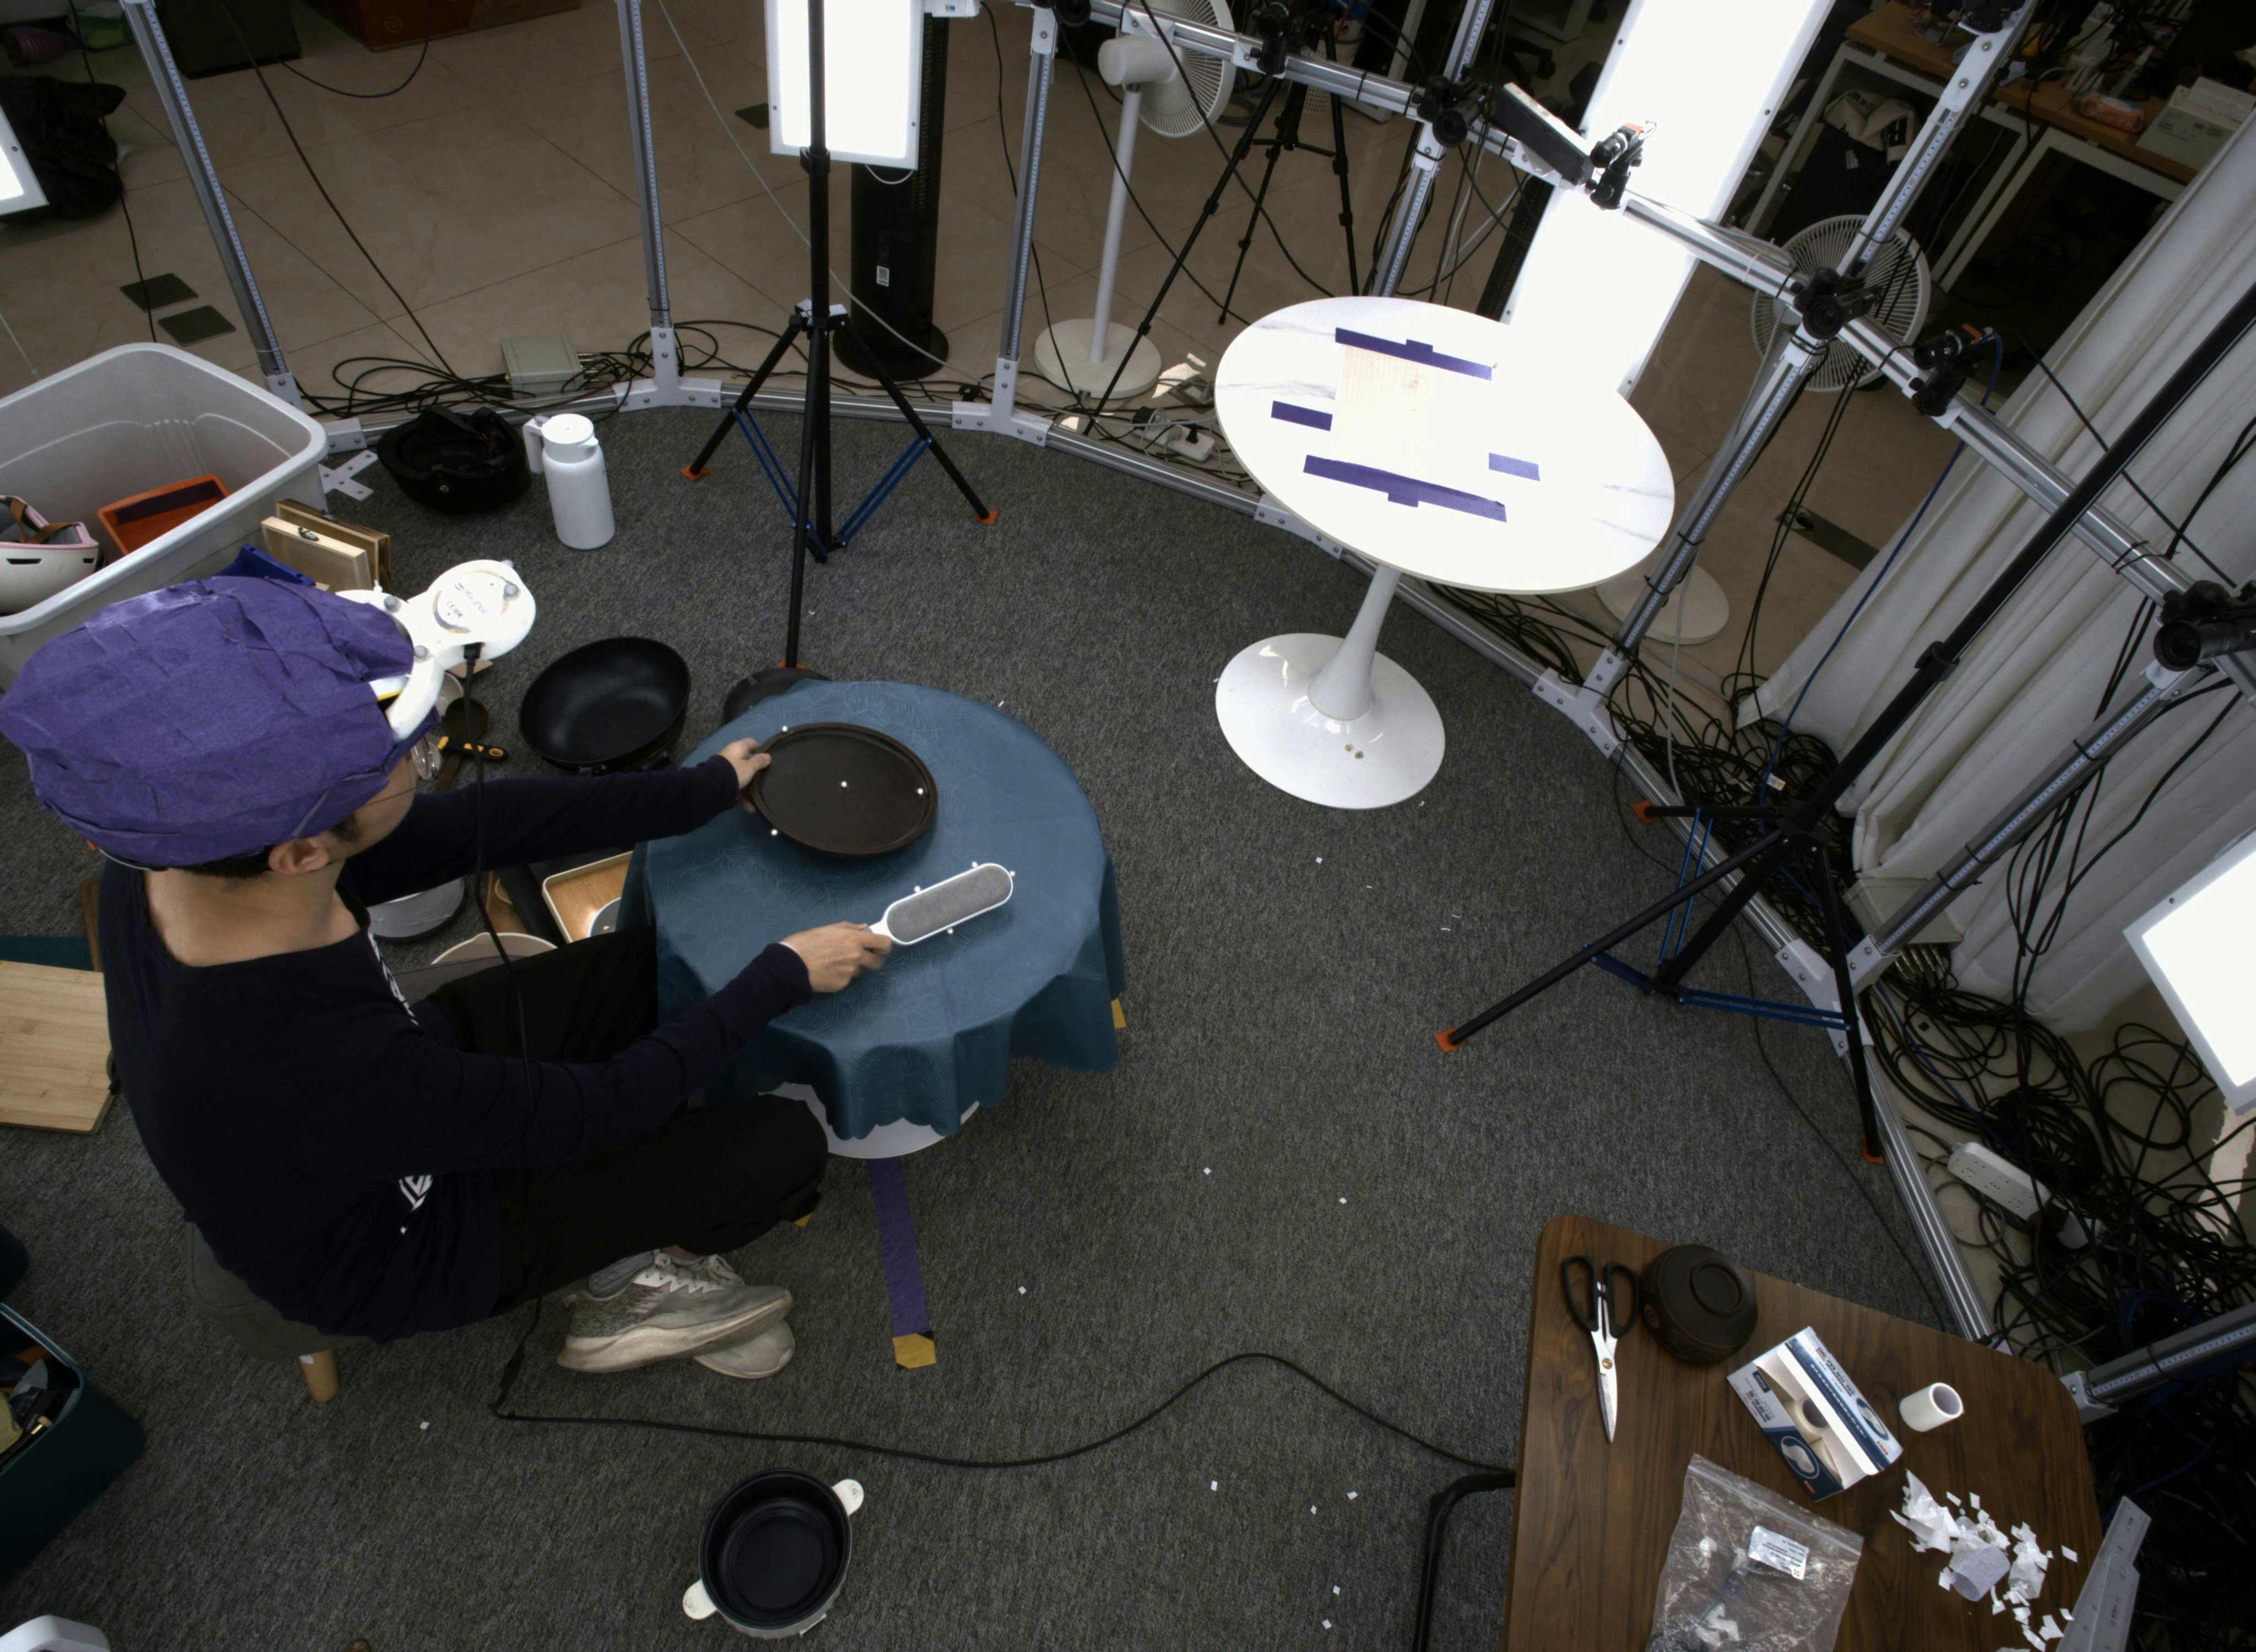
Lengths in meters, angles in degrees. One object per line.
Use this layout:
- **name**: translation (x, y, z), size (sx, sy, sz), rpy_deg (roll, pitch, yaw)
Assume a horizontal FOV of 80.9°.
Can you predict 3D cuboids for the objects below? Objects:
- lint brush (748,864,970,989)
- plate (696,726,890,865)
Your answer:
- **lint brush**: translation (-0.329, 0.122, 1.612), size (0.310, 0.020, 0.061), rpy_deg (-26, 97, -31)
- **plate**: translation (-0.443, -0.043, 1.719), size (0.255, 0.029, 0.249), rpy_deg (14, 41, -11)
